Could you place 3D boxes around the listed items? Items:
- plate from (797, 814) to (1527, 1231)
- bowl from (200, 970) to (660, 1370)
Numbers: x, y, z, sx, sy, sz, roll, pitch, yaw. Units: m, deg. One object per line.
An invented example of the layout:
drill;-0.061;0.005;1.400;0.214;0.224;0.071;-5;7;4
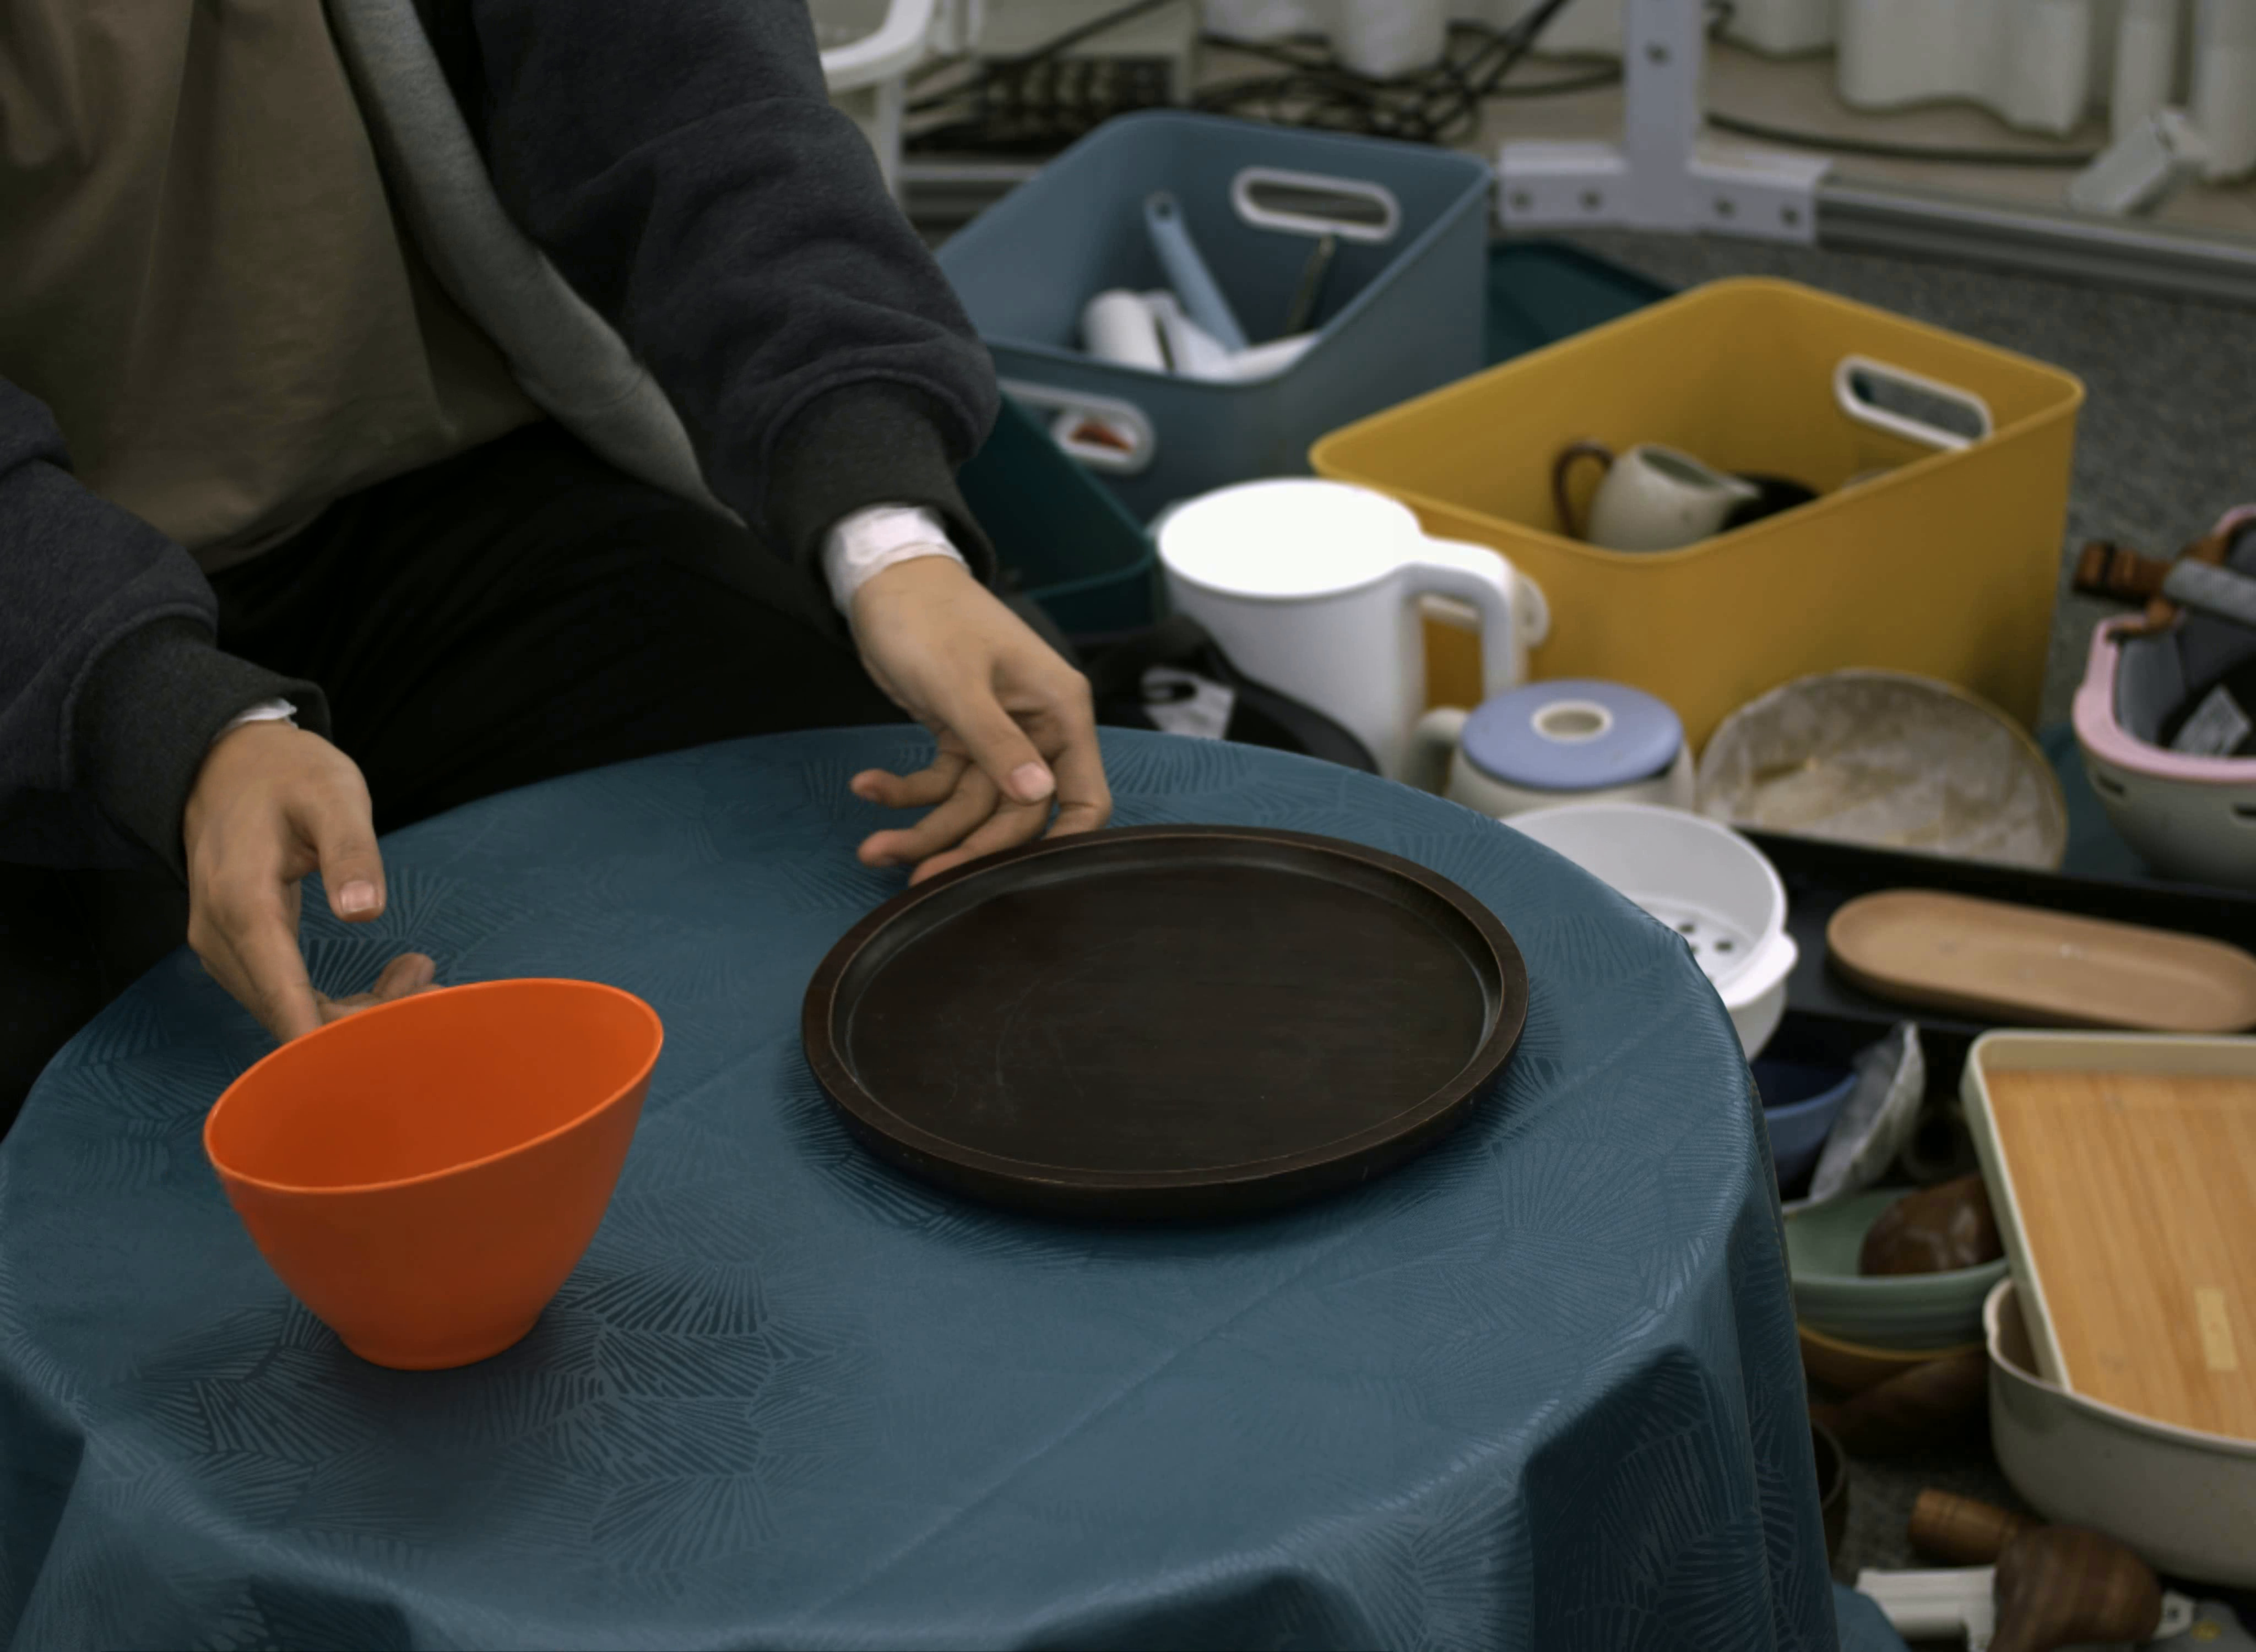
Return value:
plate;0.012;0.068;1.940;0.253;0.029;0.259;-3;28;2
bowl;-0.217;0.116;1.784;0.147;0.103;0.150;-3;29;2
